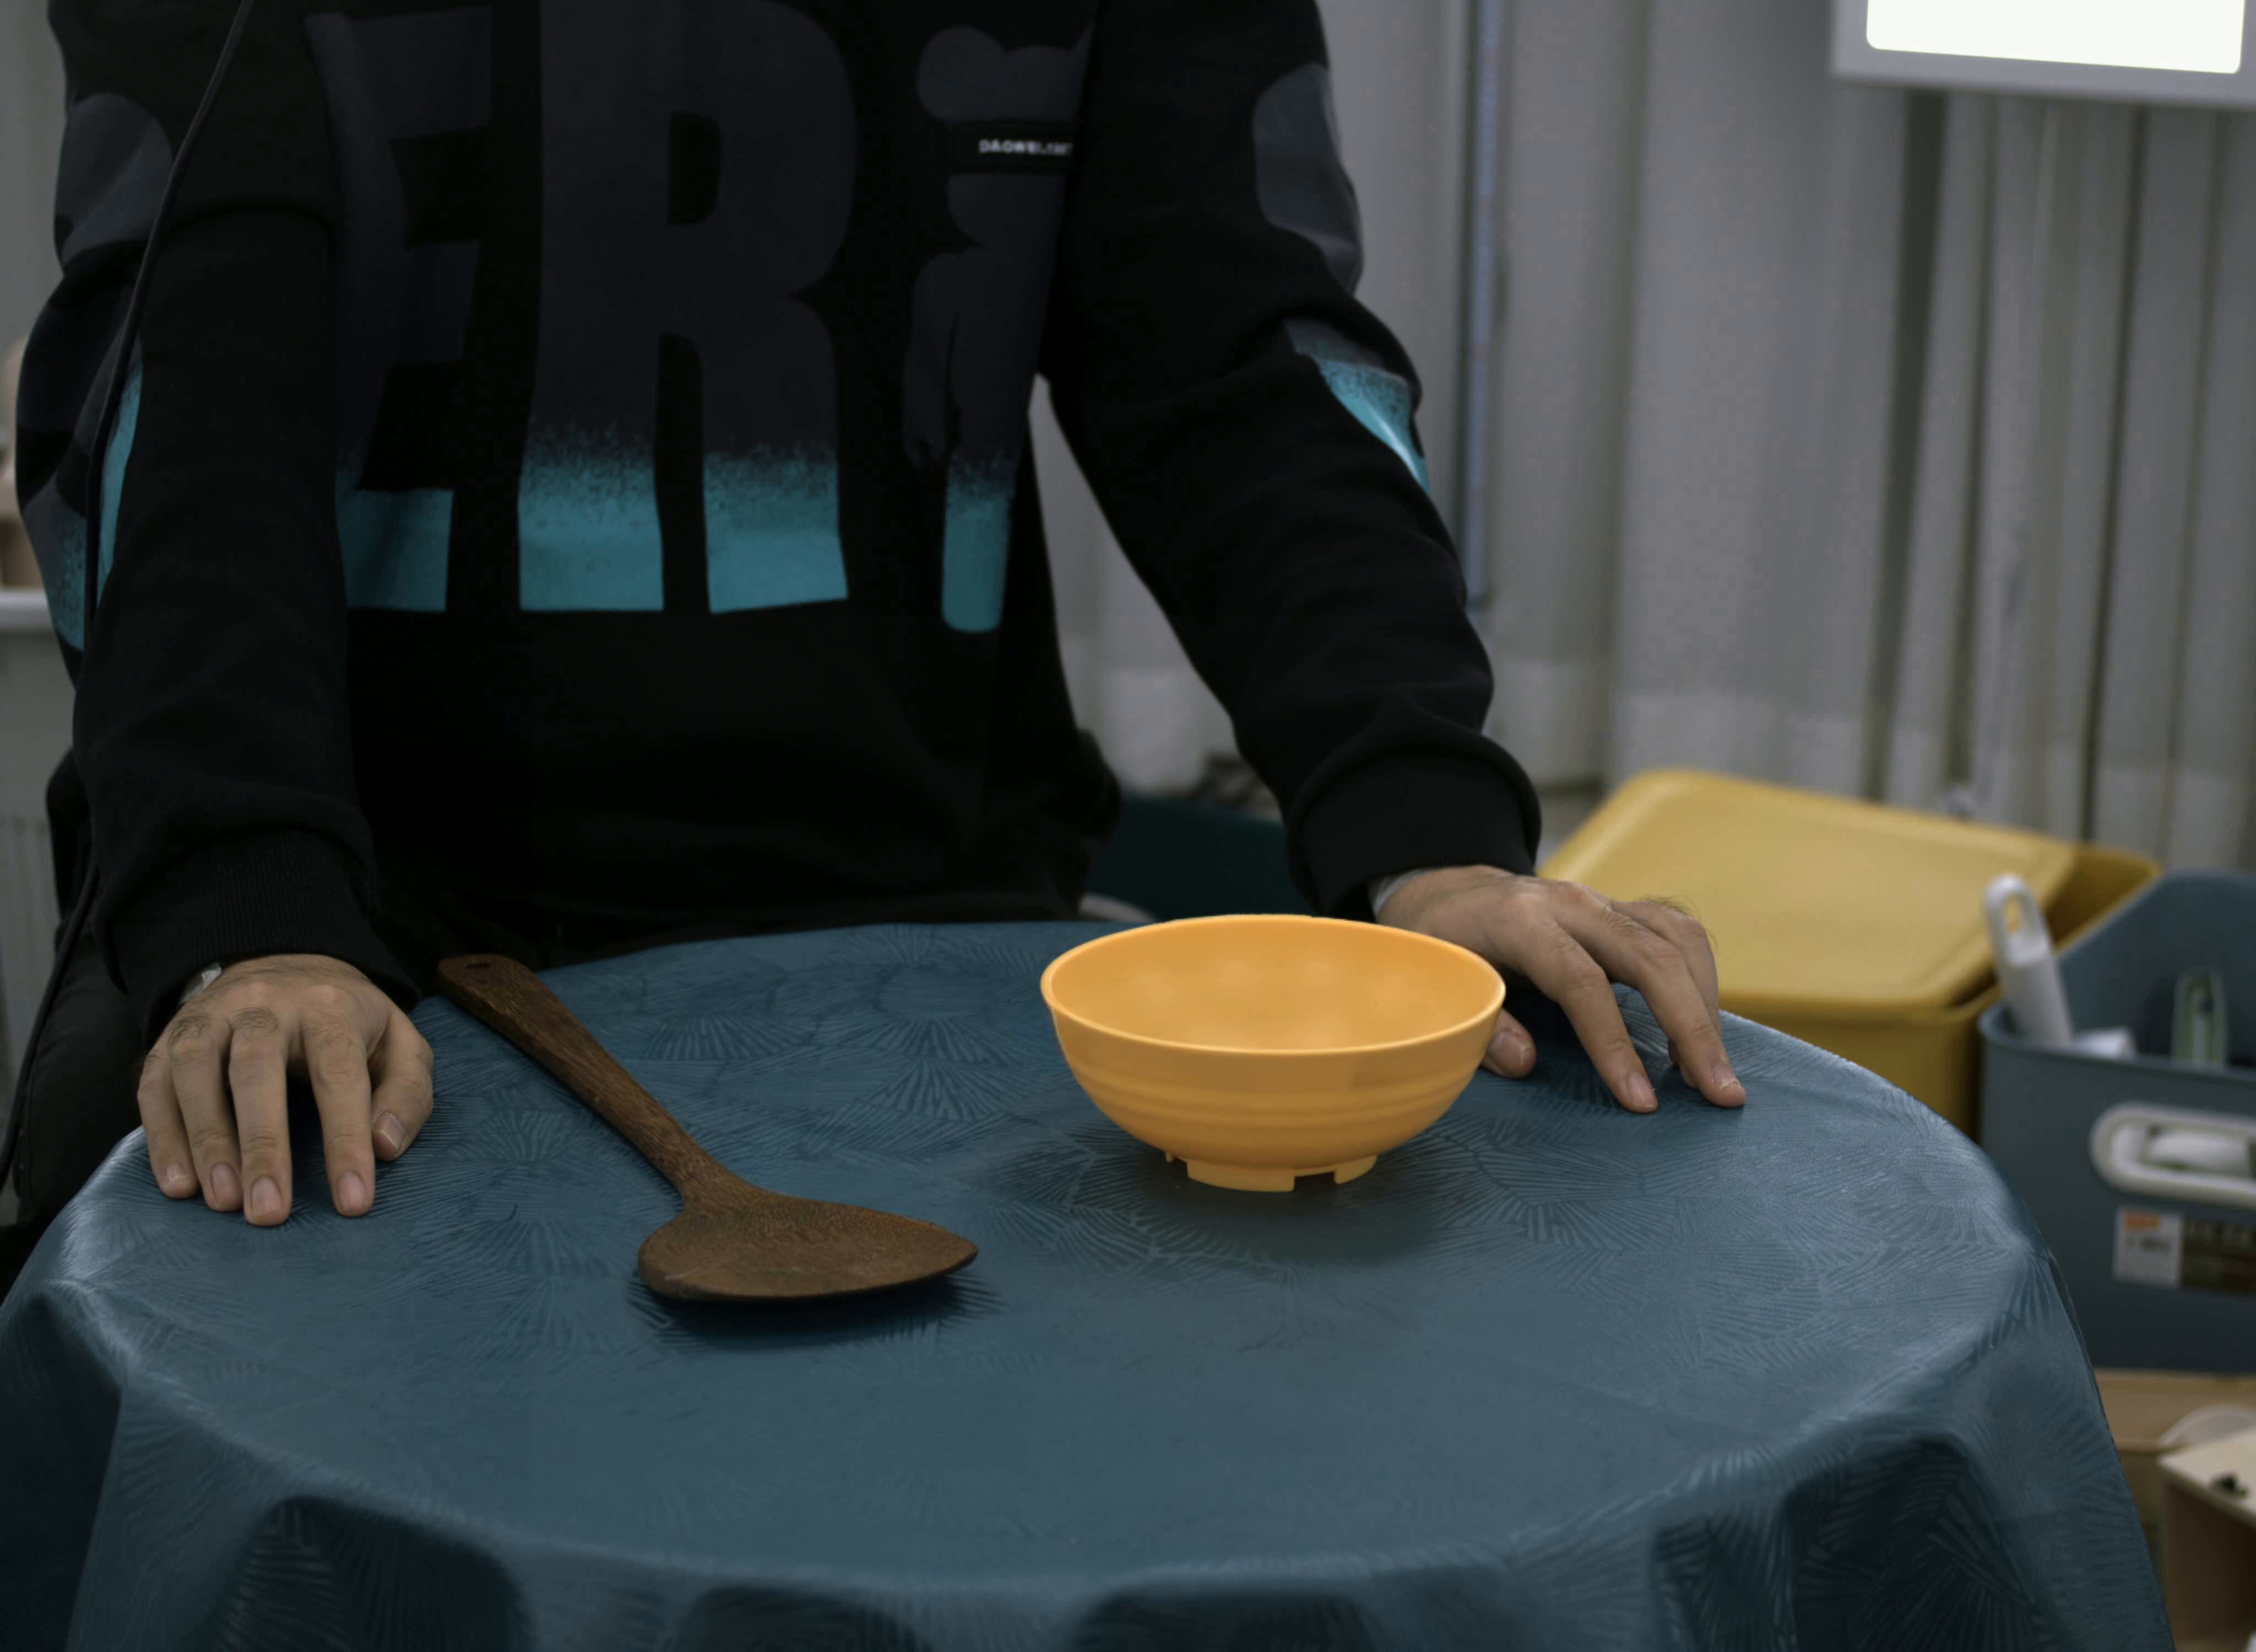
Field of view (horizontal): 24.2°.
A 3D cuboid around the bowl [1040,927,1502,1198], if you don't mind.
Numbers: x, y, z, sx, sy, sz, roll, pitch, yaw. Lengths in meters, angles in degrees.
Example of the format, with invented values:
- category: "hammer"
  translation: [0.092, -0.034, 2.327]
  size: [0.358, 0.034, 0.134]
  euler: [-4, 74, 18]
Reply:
- category: "bowl"
  translation: [0.044, 0.078, 1.648]
  size: [0.145, 0.060, 0.144]
  euler: [2, 14, 0]

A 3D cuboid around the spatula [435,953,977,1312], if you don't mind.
- category: "spatula"
  translation: [-0.156, 0.091, 1.672]
  size: [0.096, 0.016, 0.381]
  euler: [-6, 17, -23]
